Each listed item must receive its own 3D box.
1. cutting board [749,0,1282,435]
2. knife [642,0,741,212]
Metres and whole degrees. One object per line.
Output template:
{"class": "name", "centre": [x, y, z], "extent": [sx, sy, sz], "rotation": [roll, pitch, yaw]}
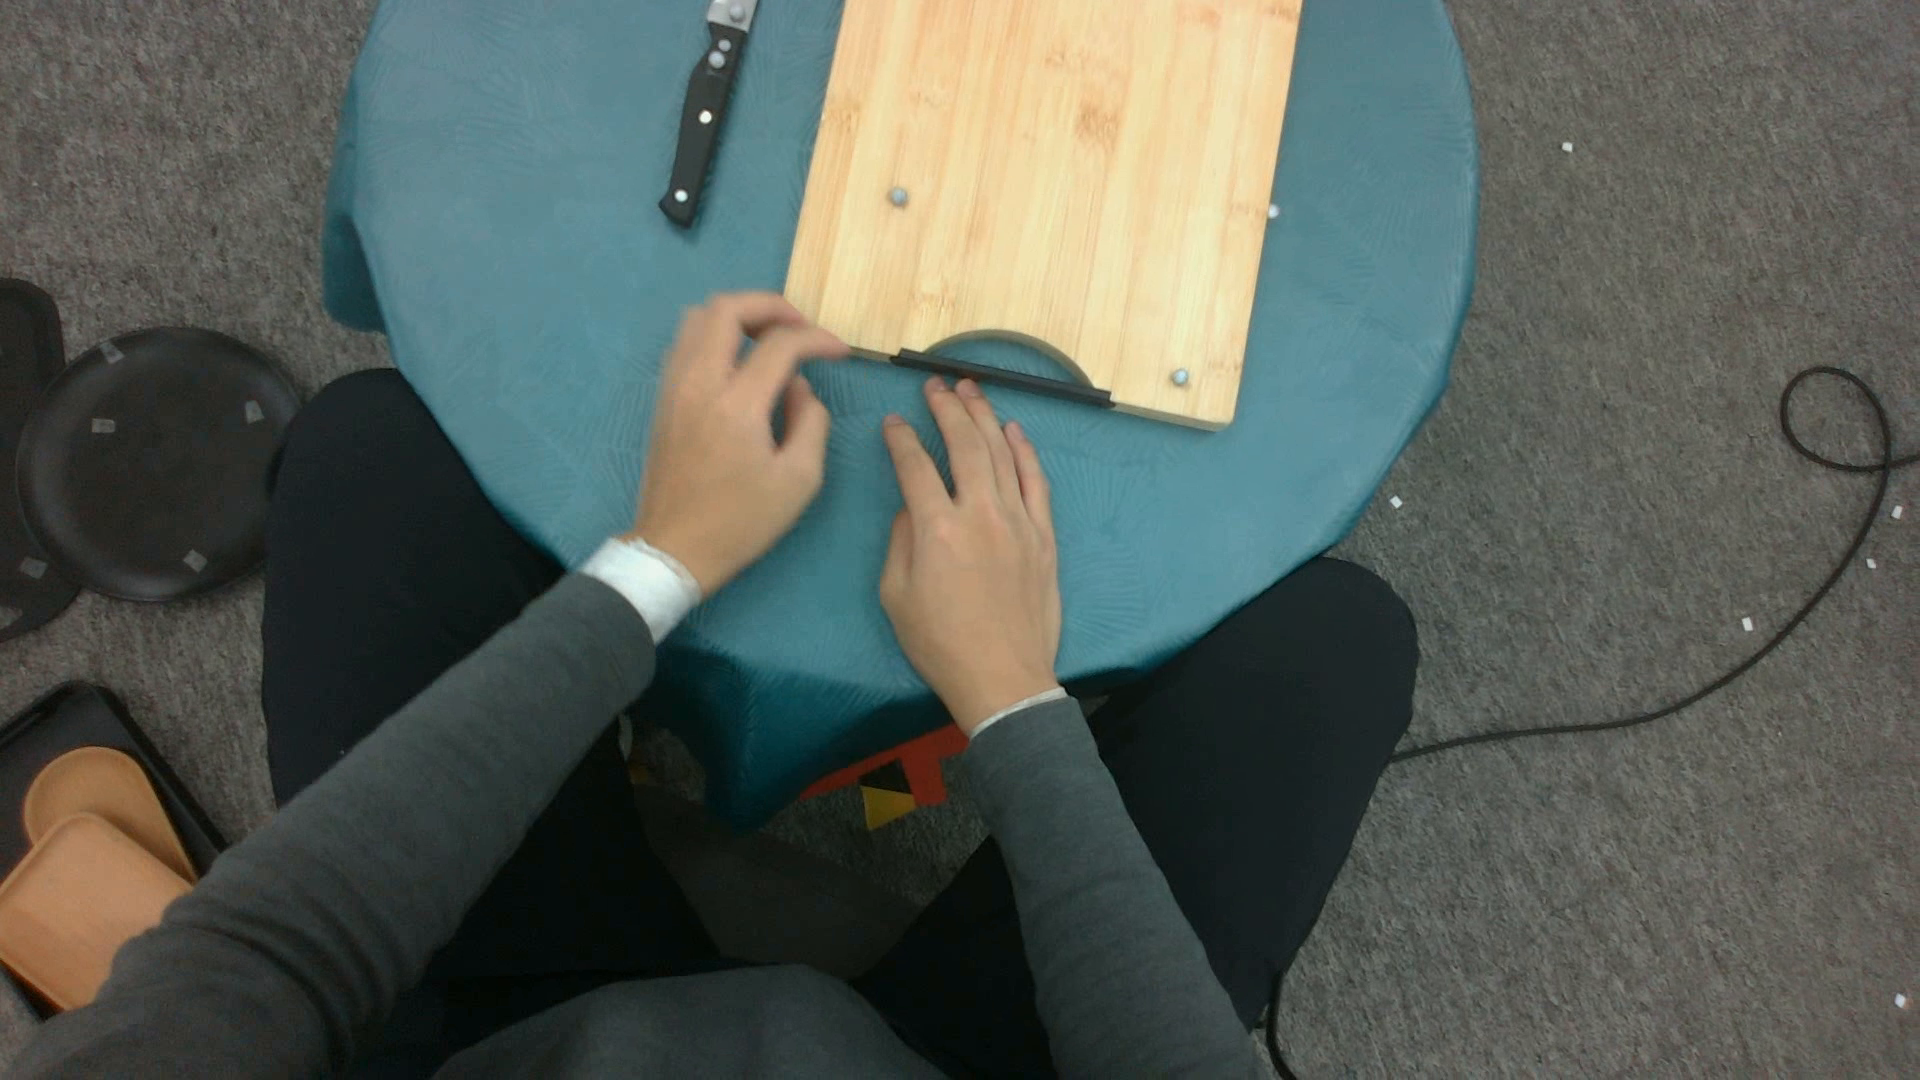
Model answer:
{"class": "cutting board", "centre": [0.043, -0.245, 0.739], "extent": [0.251, 0.023, 0.349], "rotation": [10, 80, -4]}
{"class": "knife", "centre": [-0.128, -0.280, 0.726], "extent": [0.024, 0.016, 0.238], "rotation": [13, 77, -7]}
